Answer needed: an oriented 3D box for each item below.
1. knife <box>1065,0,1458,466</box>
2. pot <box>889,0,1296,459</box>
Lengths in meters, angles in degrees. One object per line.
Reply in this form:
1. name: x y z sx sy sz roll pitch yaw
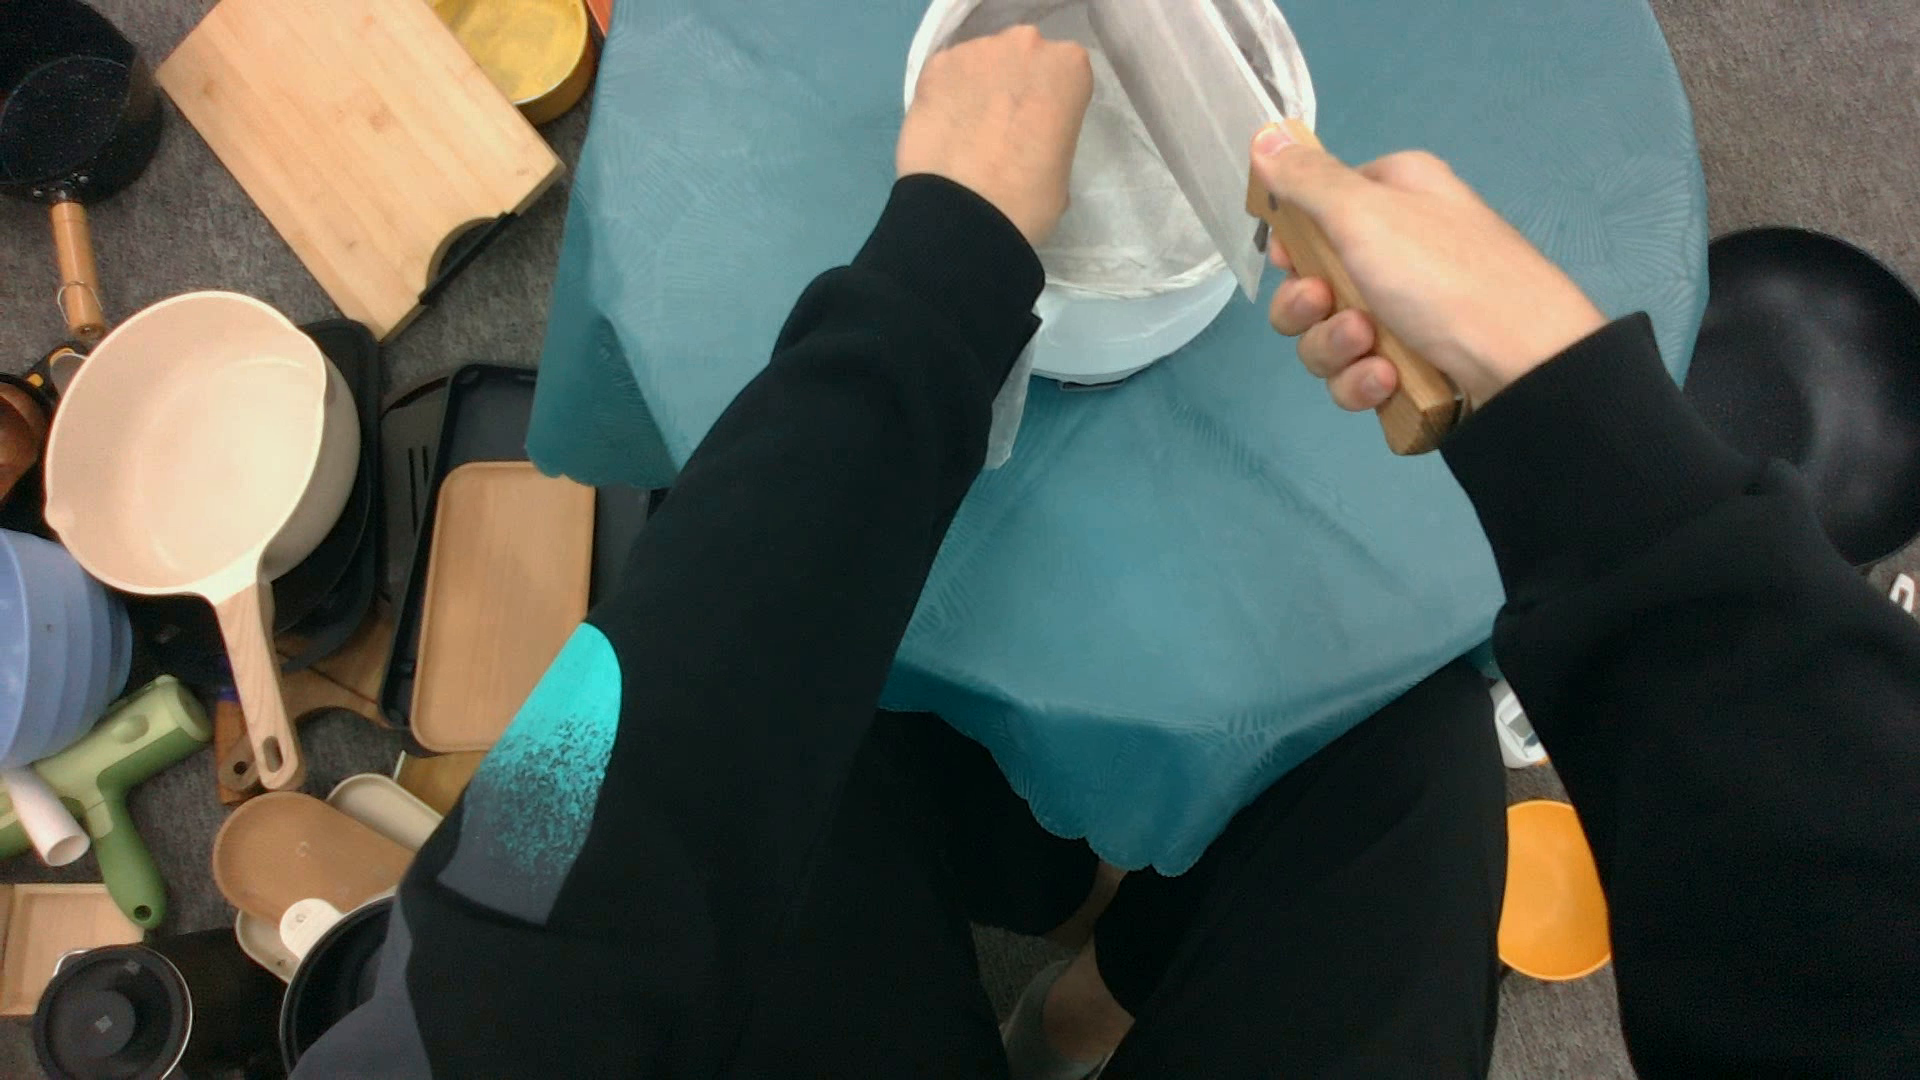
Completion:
1. knife: 0.096 -0.150 0.520 0.022 0.113 0.316 -18 54 -7
2. pot: 0.044 -0.154 0.650 0.179 0.136 0.234 22 77 1
